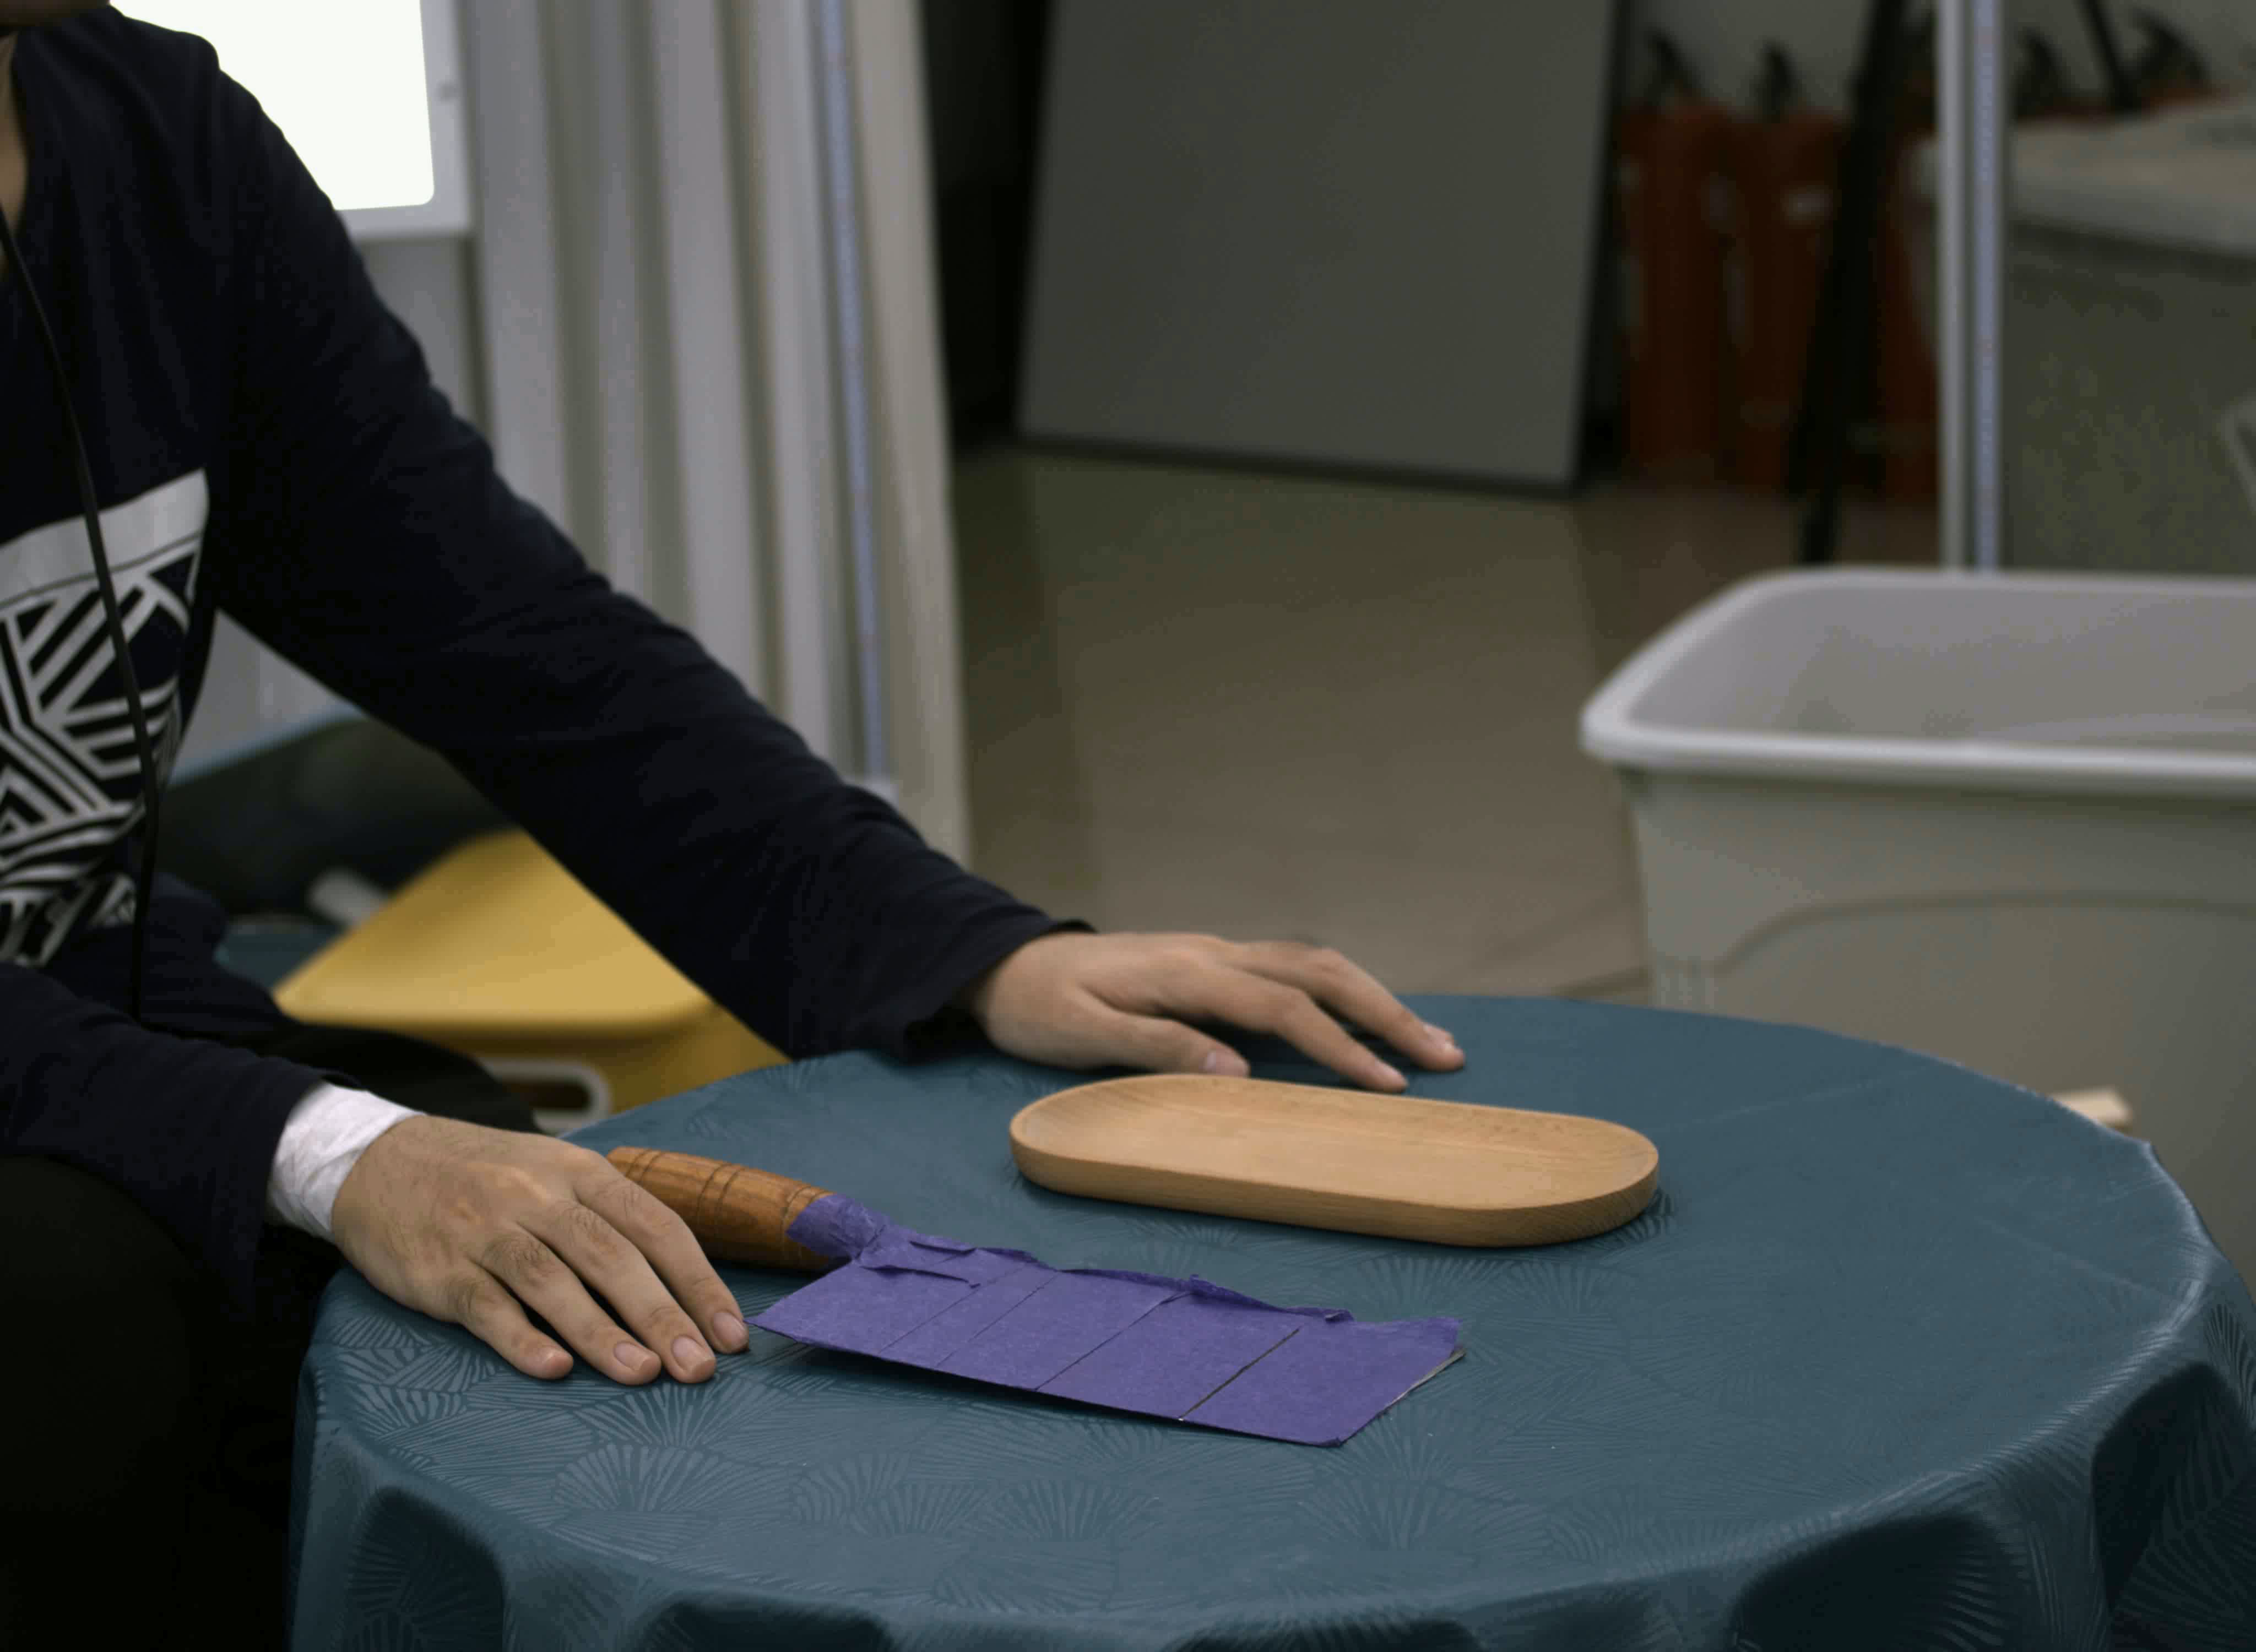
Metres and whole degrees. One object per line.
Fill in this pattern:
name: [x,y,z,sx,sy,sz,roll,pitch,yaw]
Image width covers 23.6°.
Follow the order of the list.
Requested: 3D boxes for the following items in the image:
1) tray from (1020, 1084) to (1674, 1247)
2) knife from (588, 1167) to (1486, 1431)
tray: [0.070,0.111,1.765,0.232,0.020,0.100,5,17,31]
knife: [-0.049,0.143,1.643,0.316,0.032,0.102,5,16,32]
